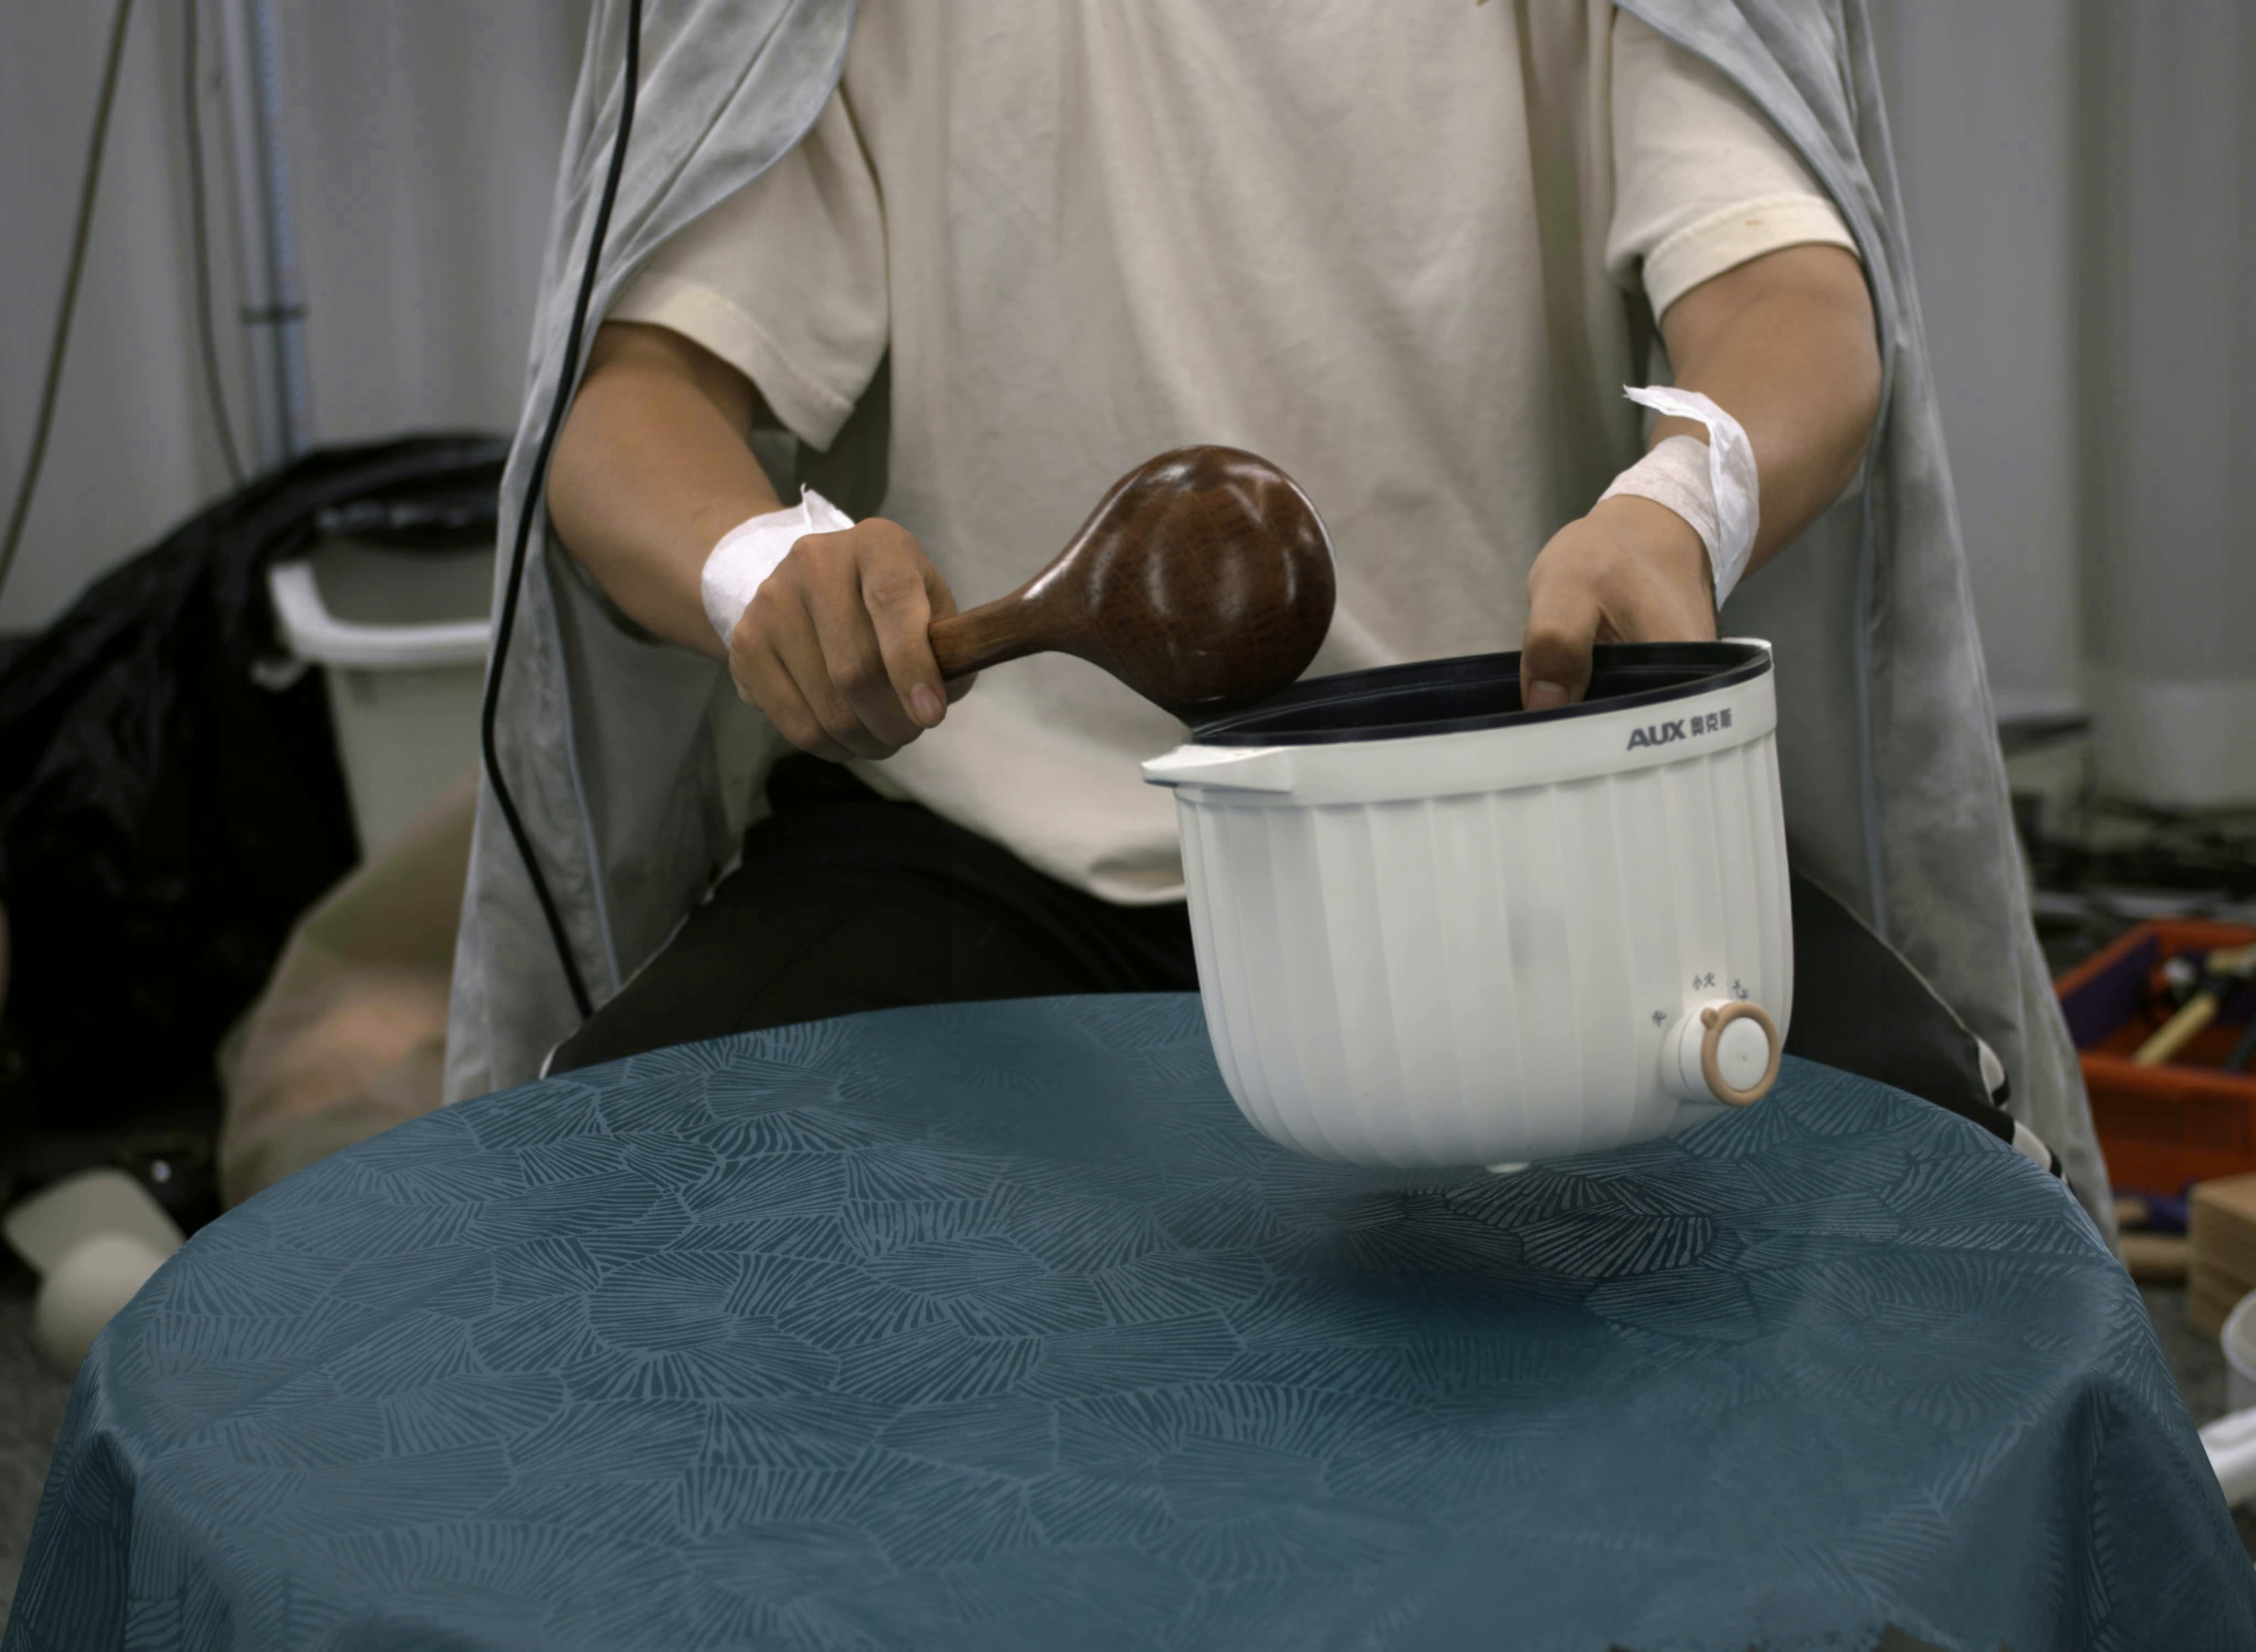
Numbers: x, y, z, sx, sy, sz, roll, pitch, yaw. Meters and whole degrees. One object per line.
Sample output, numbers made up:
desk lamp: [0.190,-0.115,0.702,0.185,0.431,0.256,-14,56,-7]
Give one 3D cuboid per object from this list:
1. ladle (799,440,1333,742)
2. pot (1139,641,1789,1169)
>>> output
ladle: [-0.022,-0.062,1.736,0.076,0.082,0.274,-1,-7,-24]
pot: [0.111,0.024,1.627,0.239,0.143,0.191,-13,6,-38]
